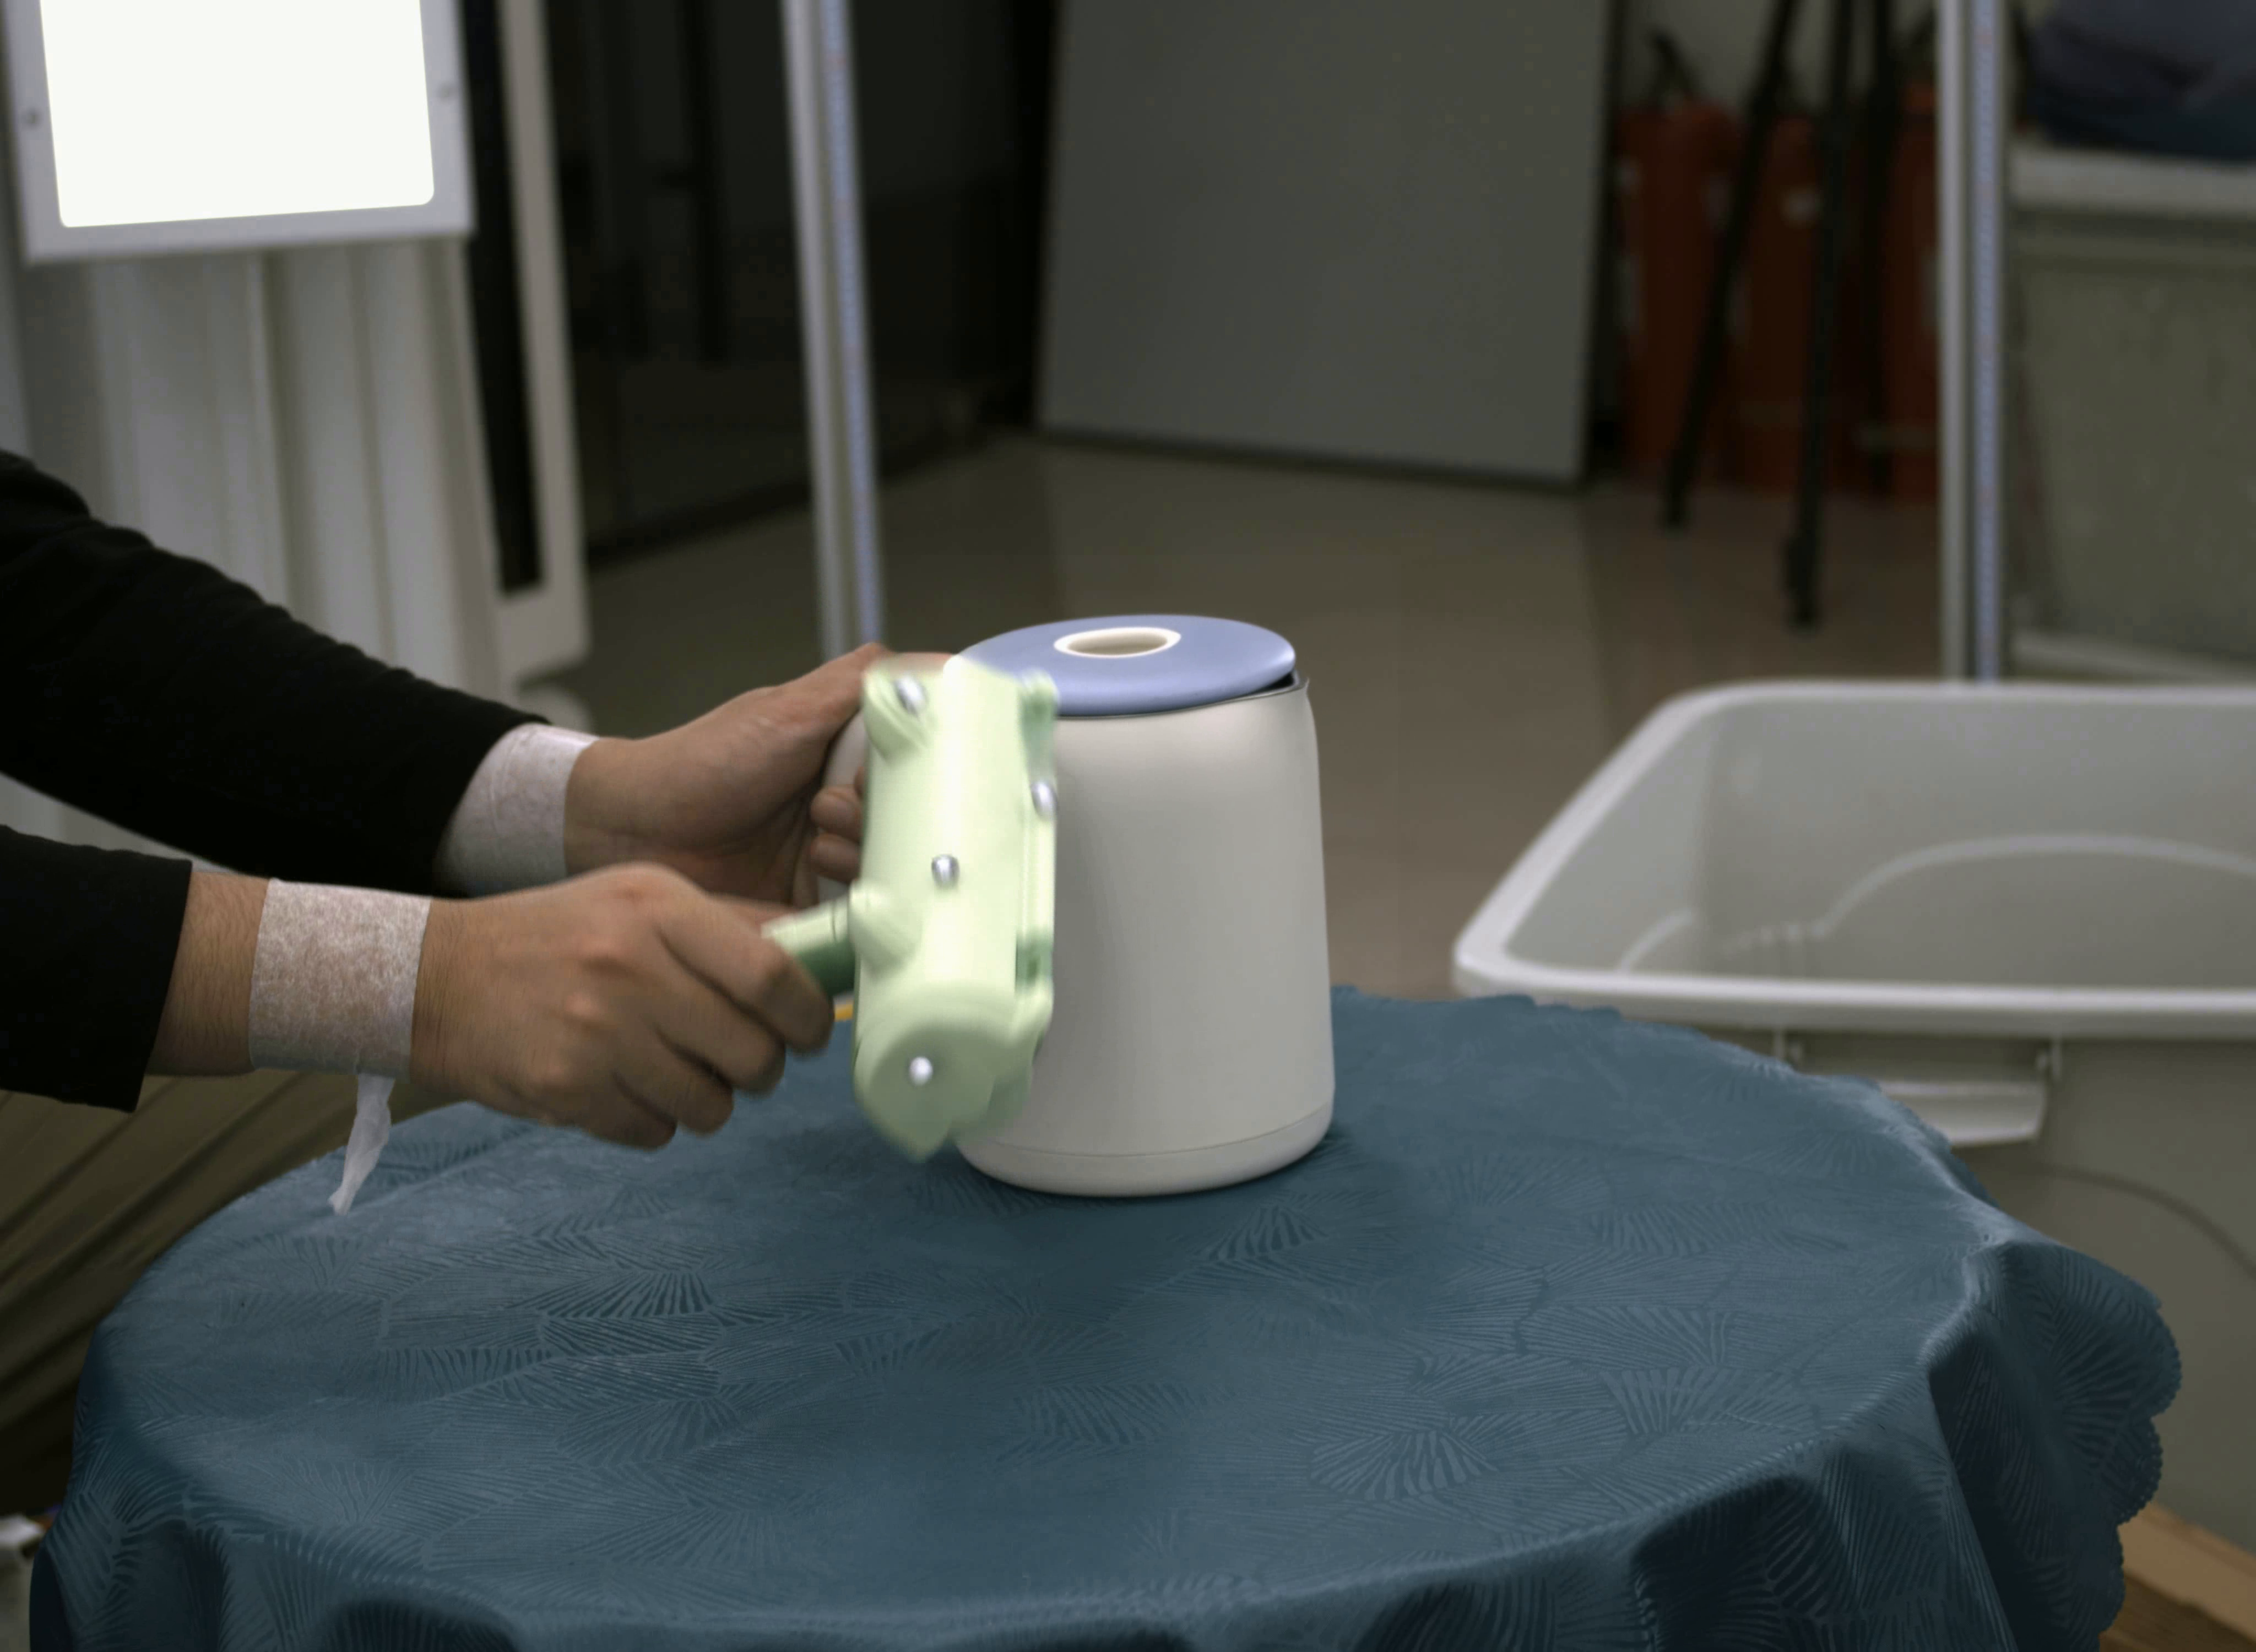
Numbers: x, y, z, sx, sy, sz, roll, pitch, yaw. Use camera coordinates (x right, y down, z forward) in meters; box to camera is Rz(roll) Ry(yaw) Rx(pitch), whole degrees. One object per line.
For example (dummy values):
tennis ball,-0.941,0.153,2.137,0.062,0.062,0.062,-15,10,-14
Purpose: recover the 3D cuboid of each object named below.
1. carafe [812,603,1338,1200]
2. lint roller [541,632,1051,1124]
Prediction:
carafe,-0.021,0.024,1.808,0.191,0.184,0.130,0,13,26
lint roller,-0.108,0.024,1.632,0.182,0.082,0.200,-20,31,11
